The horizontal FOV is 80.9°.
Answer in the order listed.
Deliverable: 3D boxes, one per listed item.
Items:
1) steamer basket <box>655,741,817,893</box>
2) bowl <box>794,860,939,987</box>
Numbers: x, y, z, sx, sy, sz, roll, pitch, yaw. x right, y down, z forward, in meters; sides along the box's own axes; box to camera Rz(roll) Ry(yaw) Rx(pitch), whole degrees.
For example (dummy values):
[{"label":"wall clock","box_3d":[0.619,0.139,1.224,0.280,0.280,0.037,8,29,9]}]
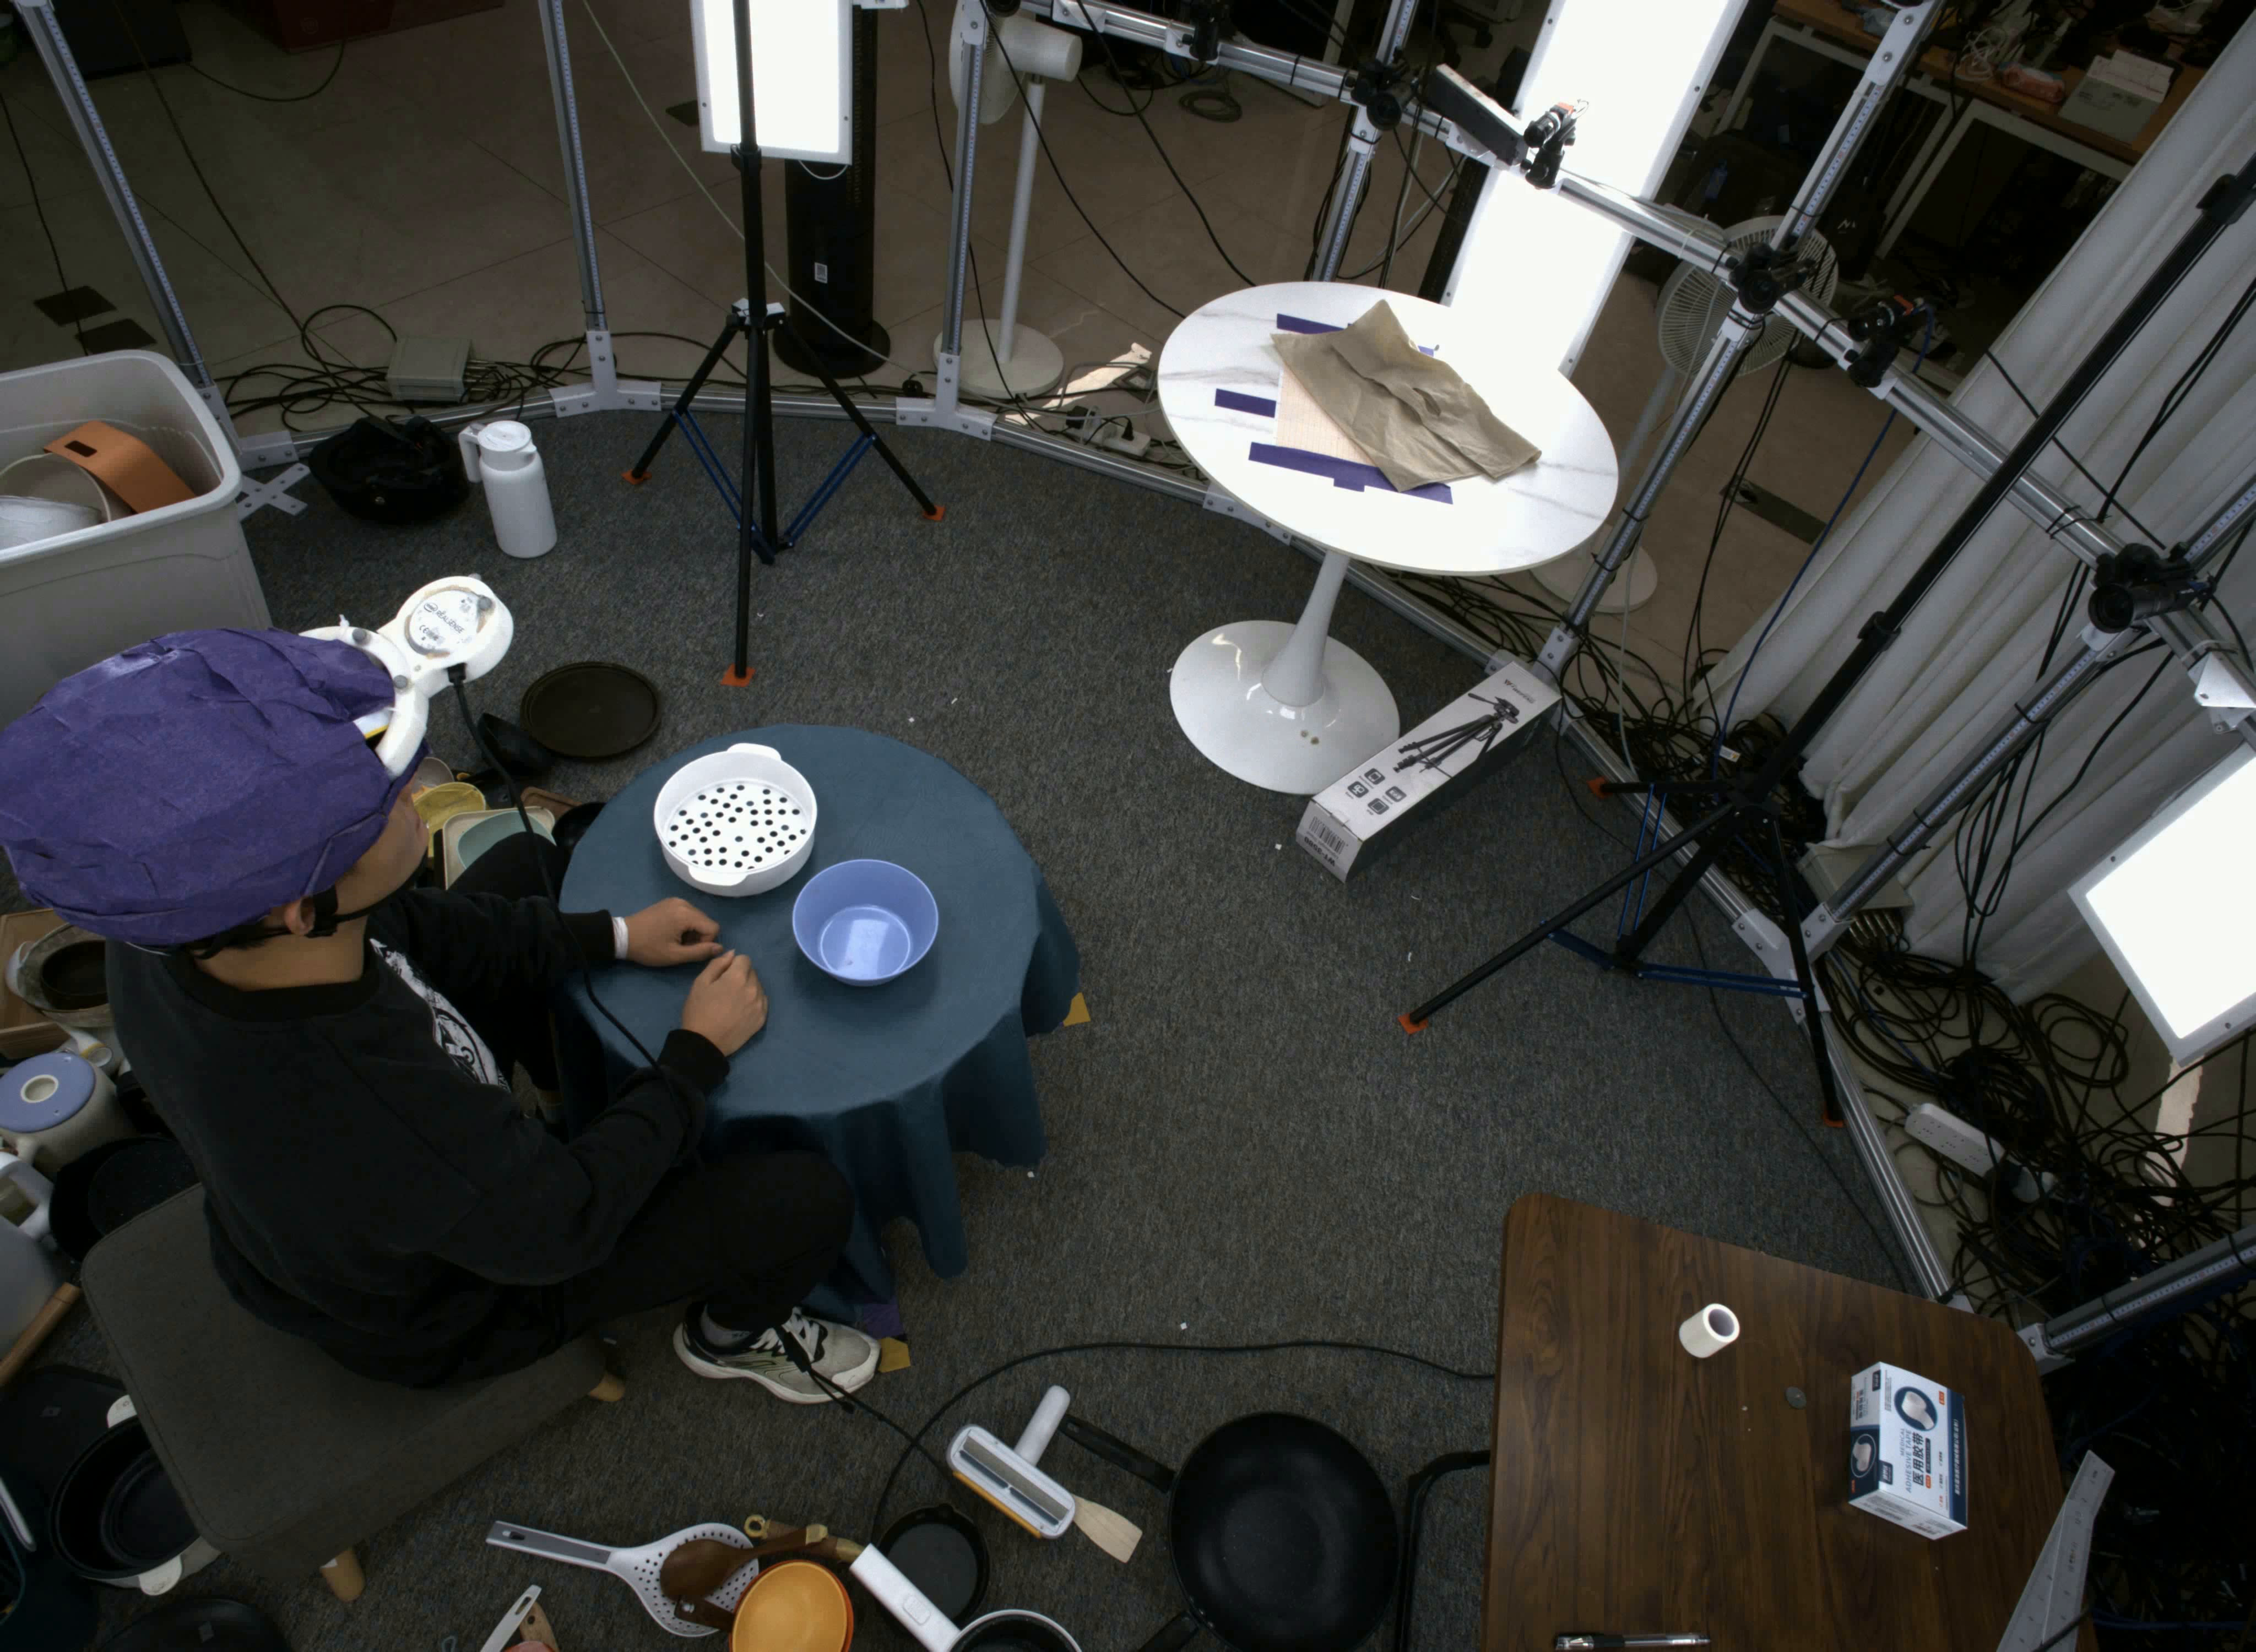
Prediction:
[{"label":"steamer basket","box_3d":[-0.504,-0.007,1.669,0.201,0.071,0.226,9,50,-8]},{"label":"bowl","box_3d":[-0.324,0.130,1.612,0.175,0.072,0.173,7,52,-8]}]
